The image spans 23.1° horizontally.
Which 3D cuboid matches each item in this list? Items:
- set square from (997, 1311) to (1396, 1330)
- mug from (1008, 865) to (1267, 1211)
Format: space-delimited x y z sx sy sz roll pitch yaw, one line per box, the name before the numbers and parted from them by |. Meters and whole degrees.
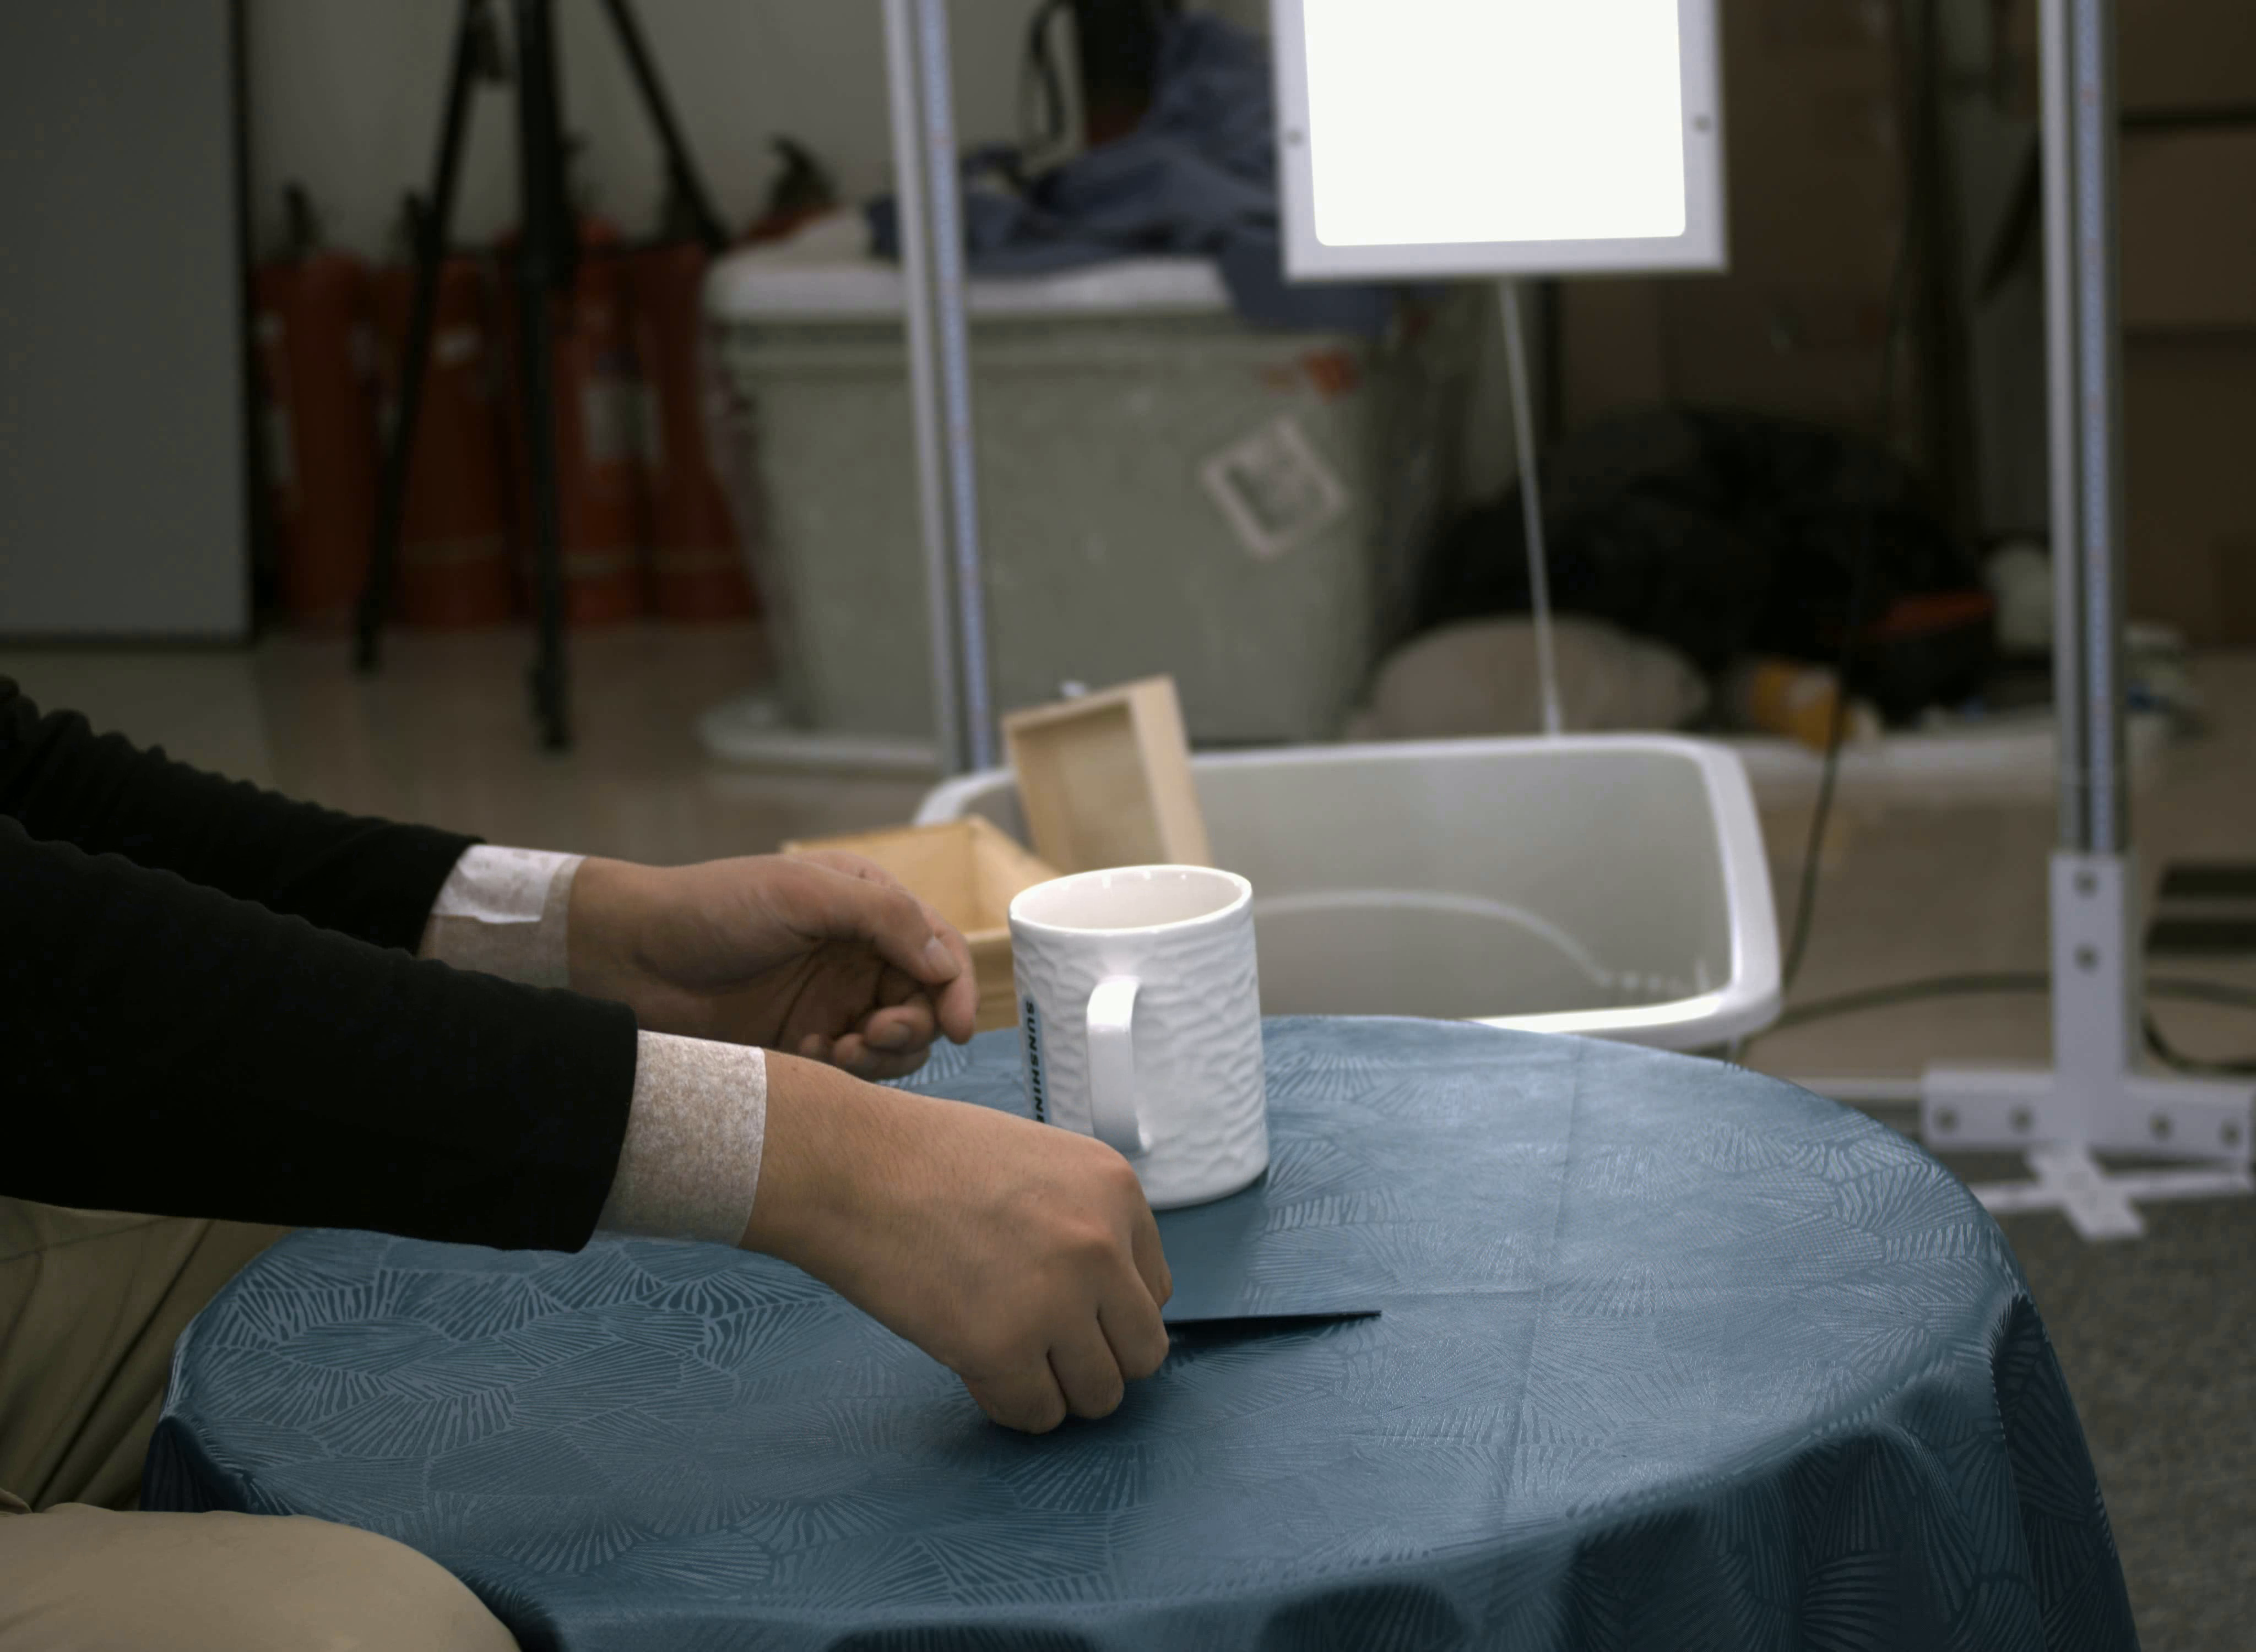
set square | 0.017 0.154 1.726 0.133 0.006 0.060 -3 -6 14
mug | 0.002 0.077 1.884 0.085 0.102 0.117 -2 14 9
